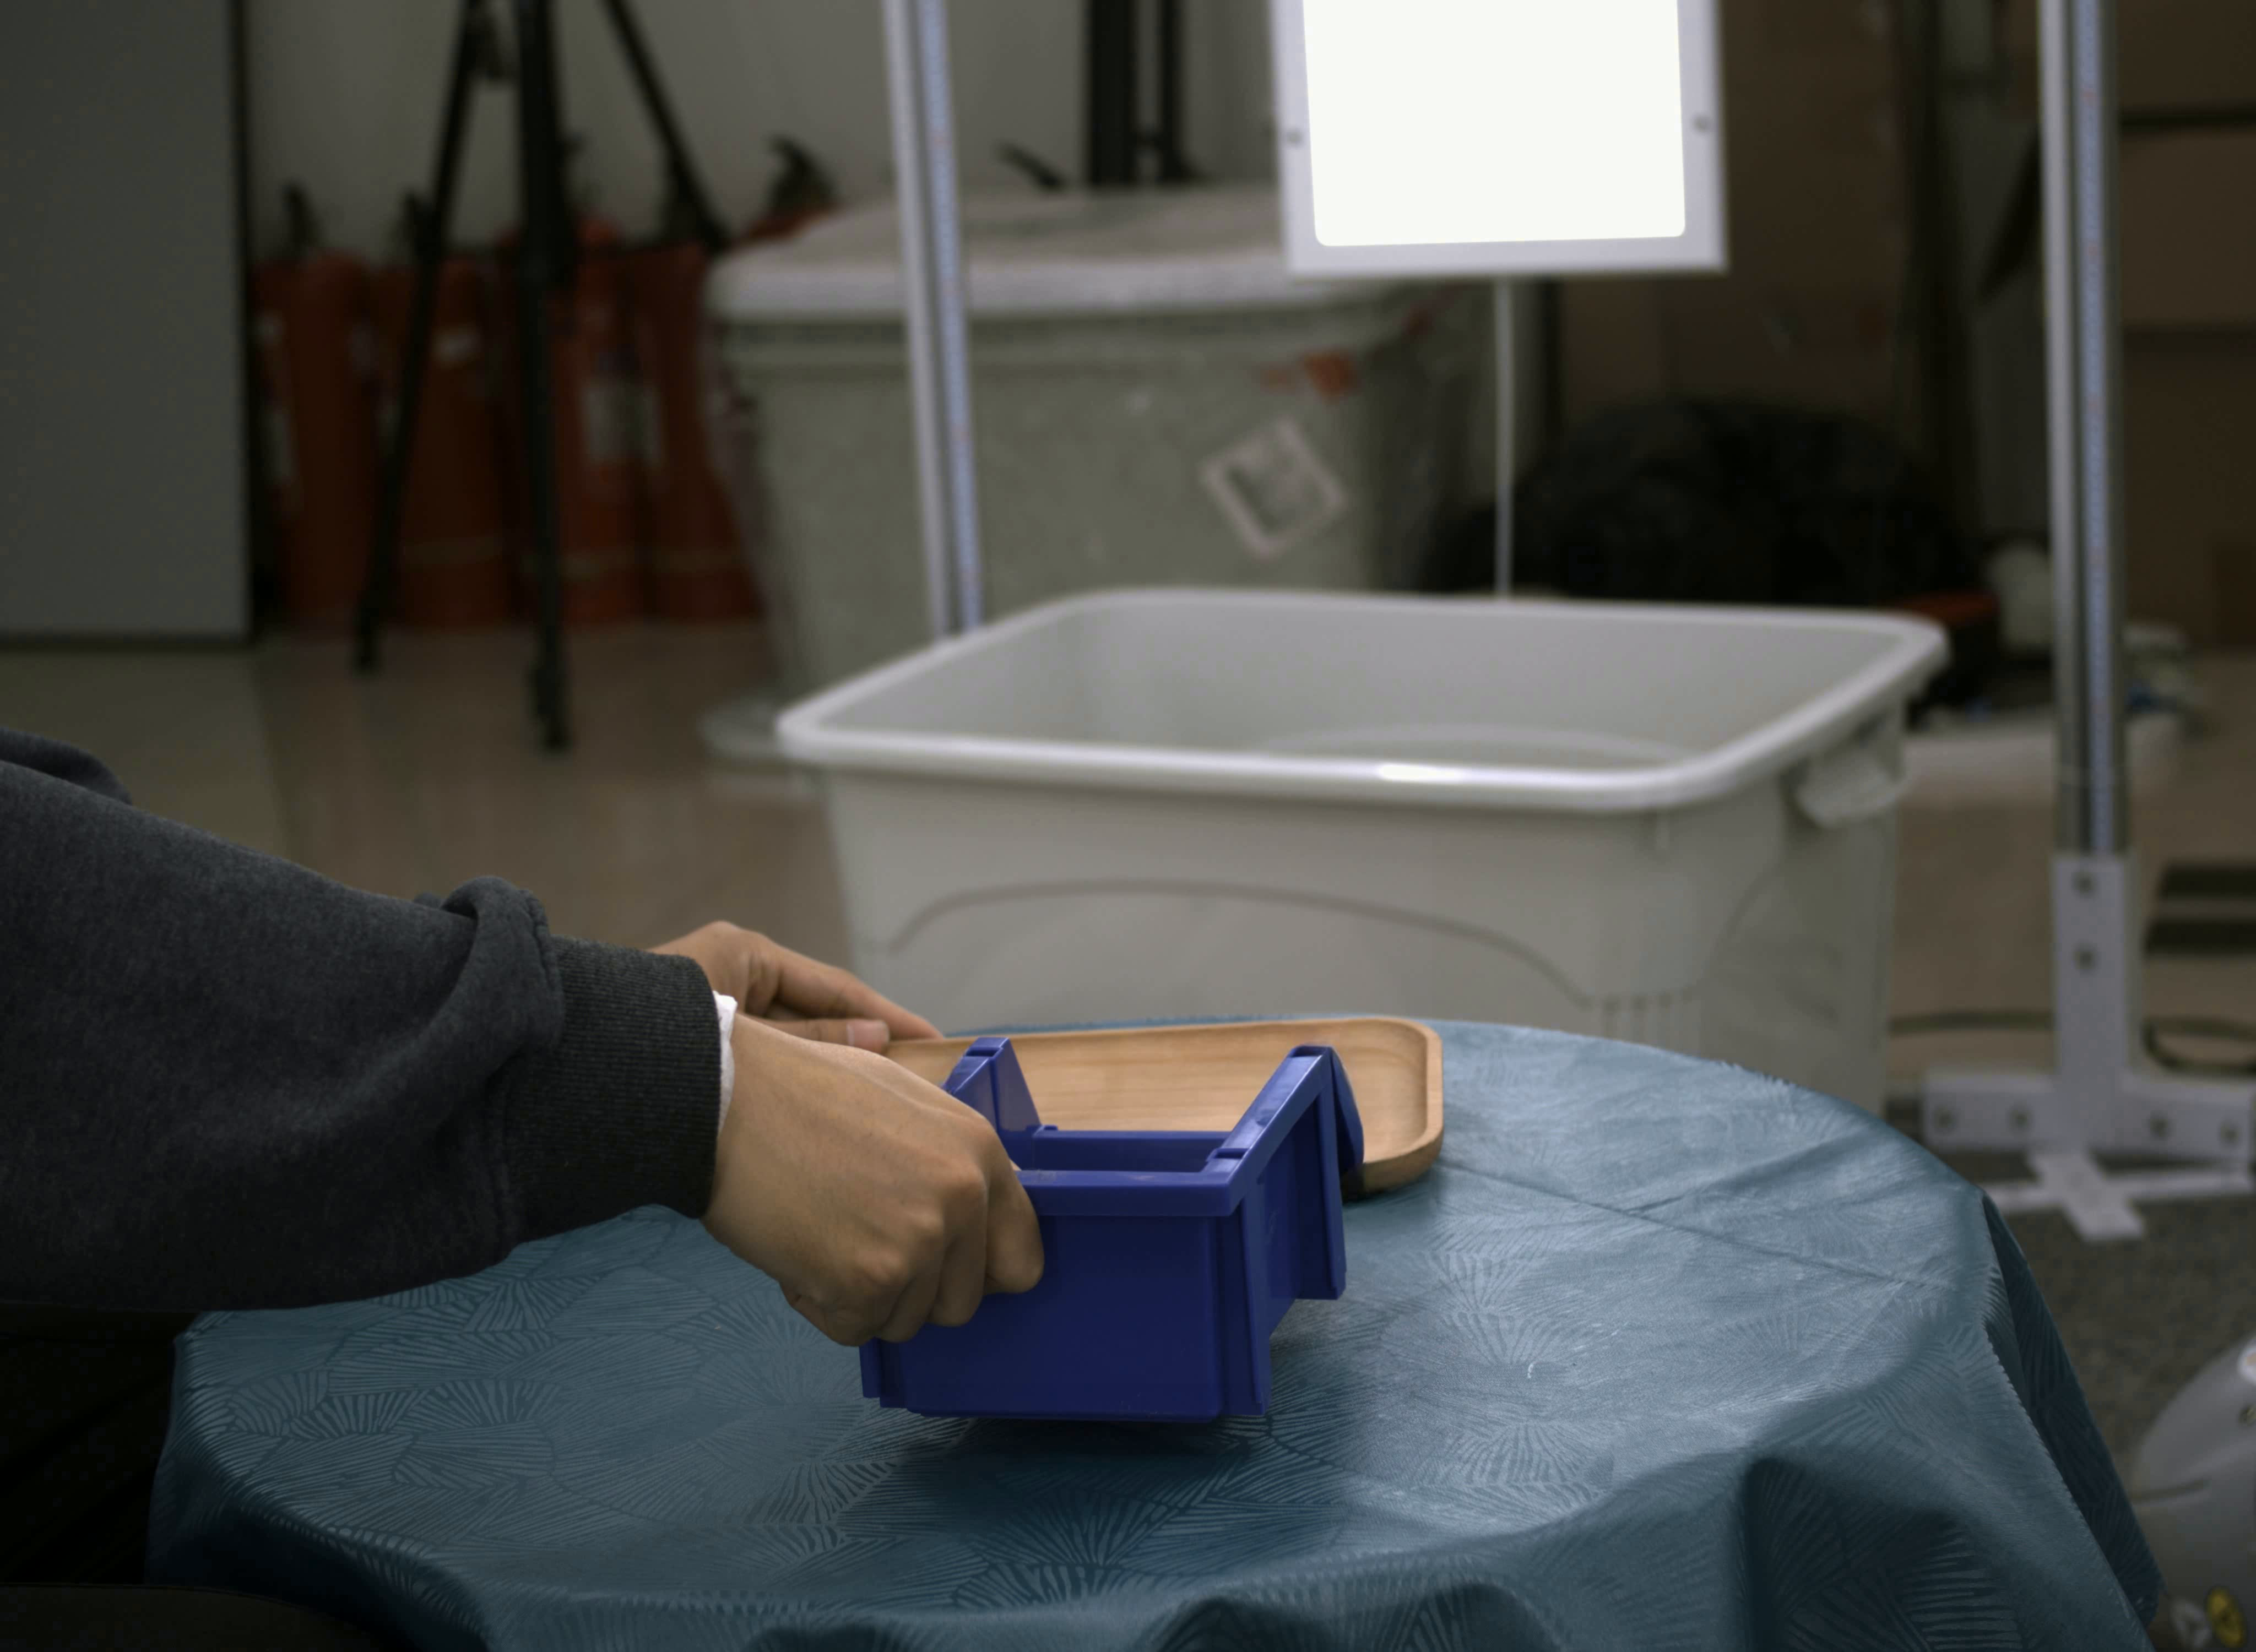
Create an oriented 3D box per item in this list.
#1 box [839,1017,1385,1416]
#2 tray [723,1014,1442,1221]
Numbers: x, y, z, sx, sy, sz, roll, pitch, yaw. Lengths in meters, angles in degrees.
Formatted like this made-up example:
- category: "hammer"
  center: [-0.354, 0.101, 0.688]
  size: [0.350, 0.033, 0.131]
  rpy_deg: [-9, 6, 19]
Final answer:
- category: "box"
  center: [-0.003, 0.116, 1.713]
  size: [0.126, 0.082, 0.176]
  rpy_deg: [-1, 18, 19]
- category: "tray"
  center: [-0.014, 0.102, 1.933]
  size: [0.251, 0.023, 0.129]
  rpy_deg: [-4, 19, 7]
